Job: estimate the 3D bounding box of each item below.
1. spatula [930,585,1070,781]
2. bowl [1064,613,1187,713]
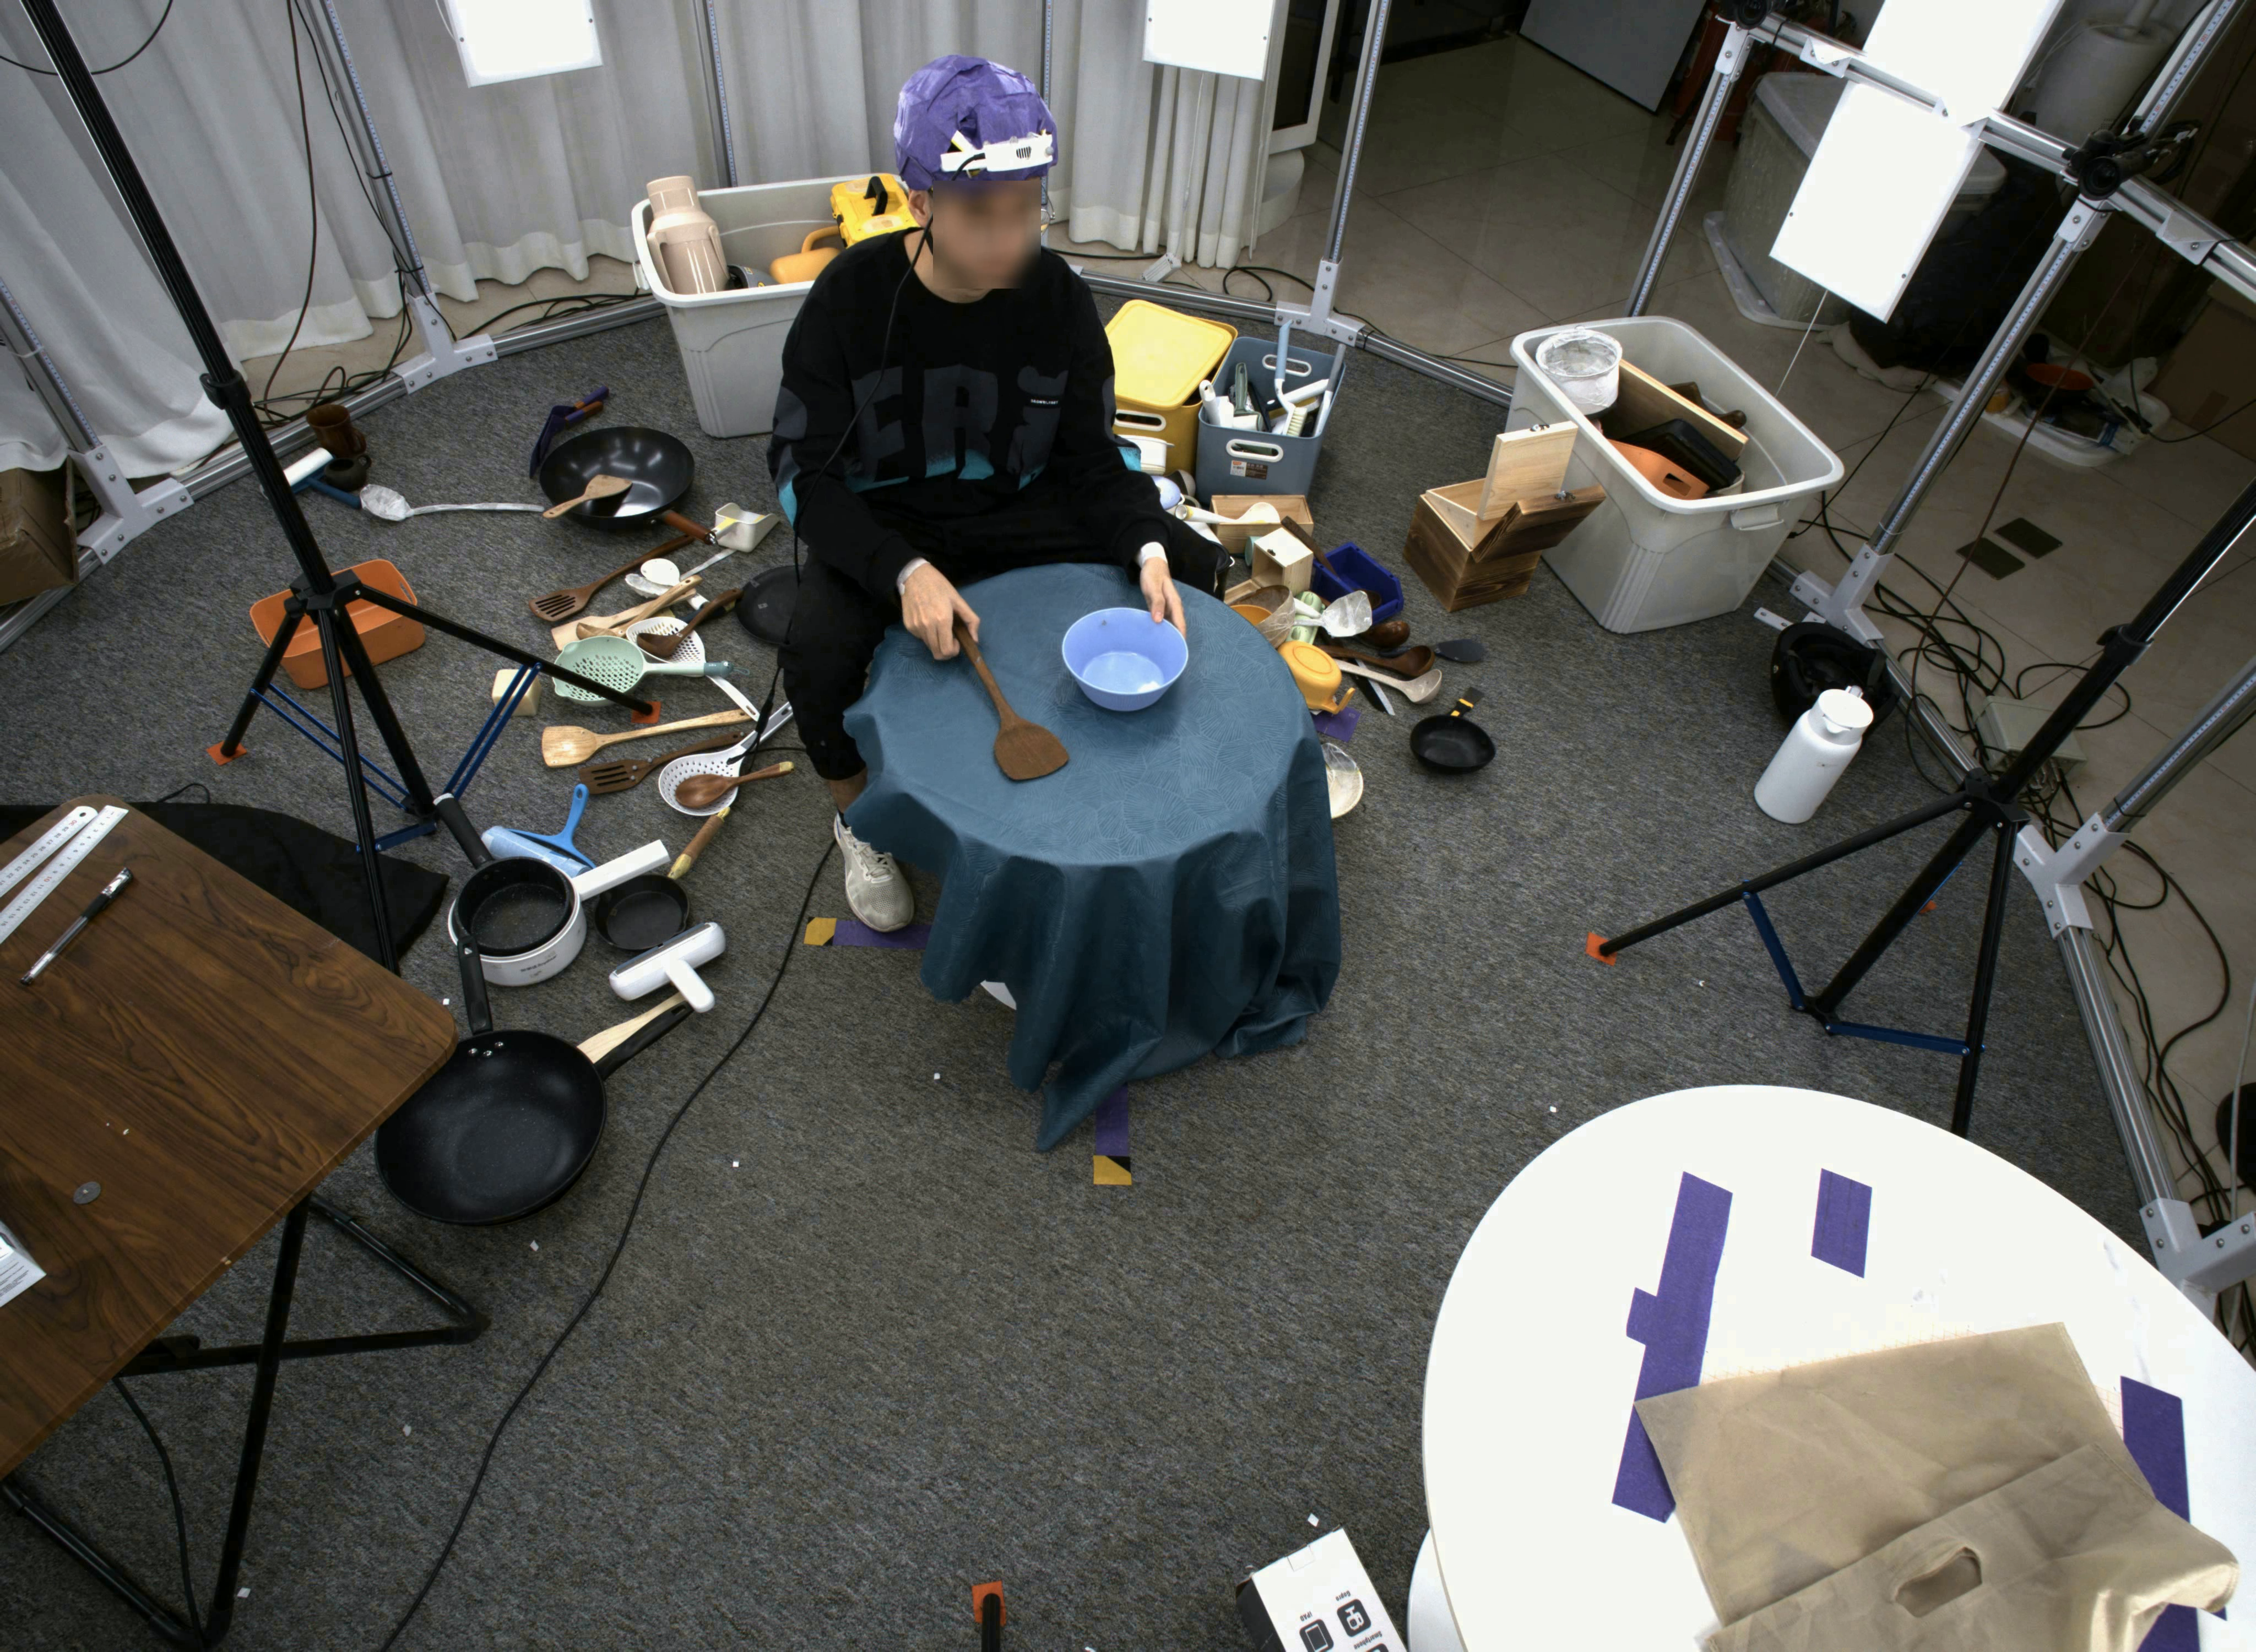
[{"bbox_3d":[-0.200,-0.213,1.829,0.096,0.015,0.394,-19,59,-20],"label":"spatula"},{"bbox_3d":[-0.005,-0.225,1.835,0.176,0.068,0.180,2,48,-2],"label":"bowl"}]
